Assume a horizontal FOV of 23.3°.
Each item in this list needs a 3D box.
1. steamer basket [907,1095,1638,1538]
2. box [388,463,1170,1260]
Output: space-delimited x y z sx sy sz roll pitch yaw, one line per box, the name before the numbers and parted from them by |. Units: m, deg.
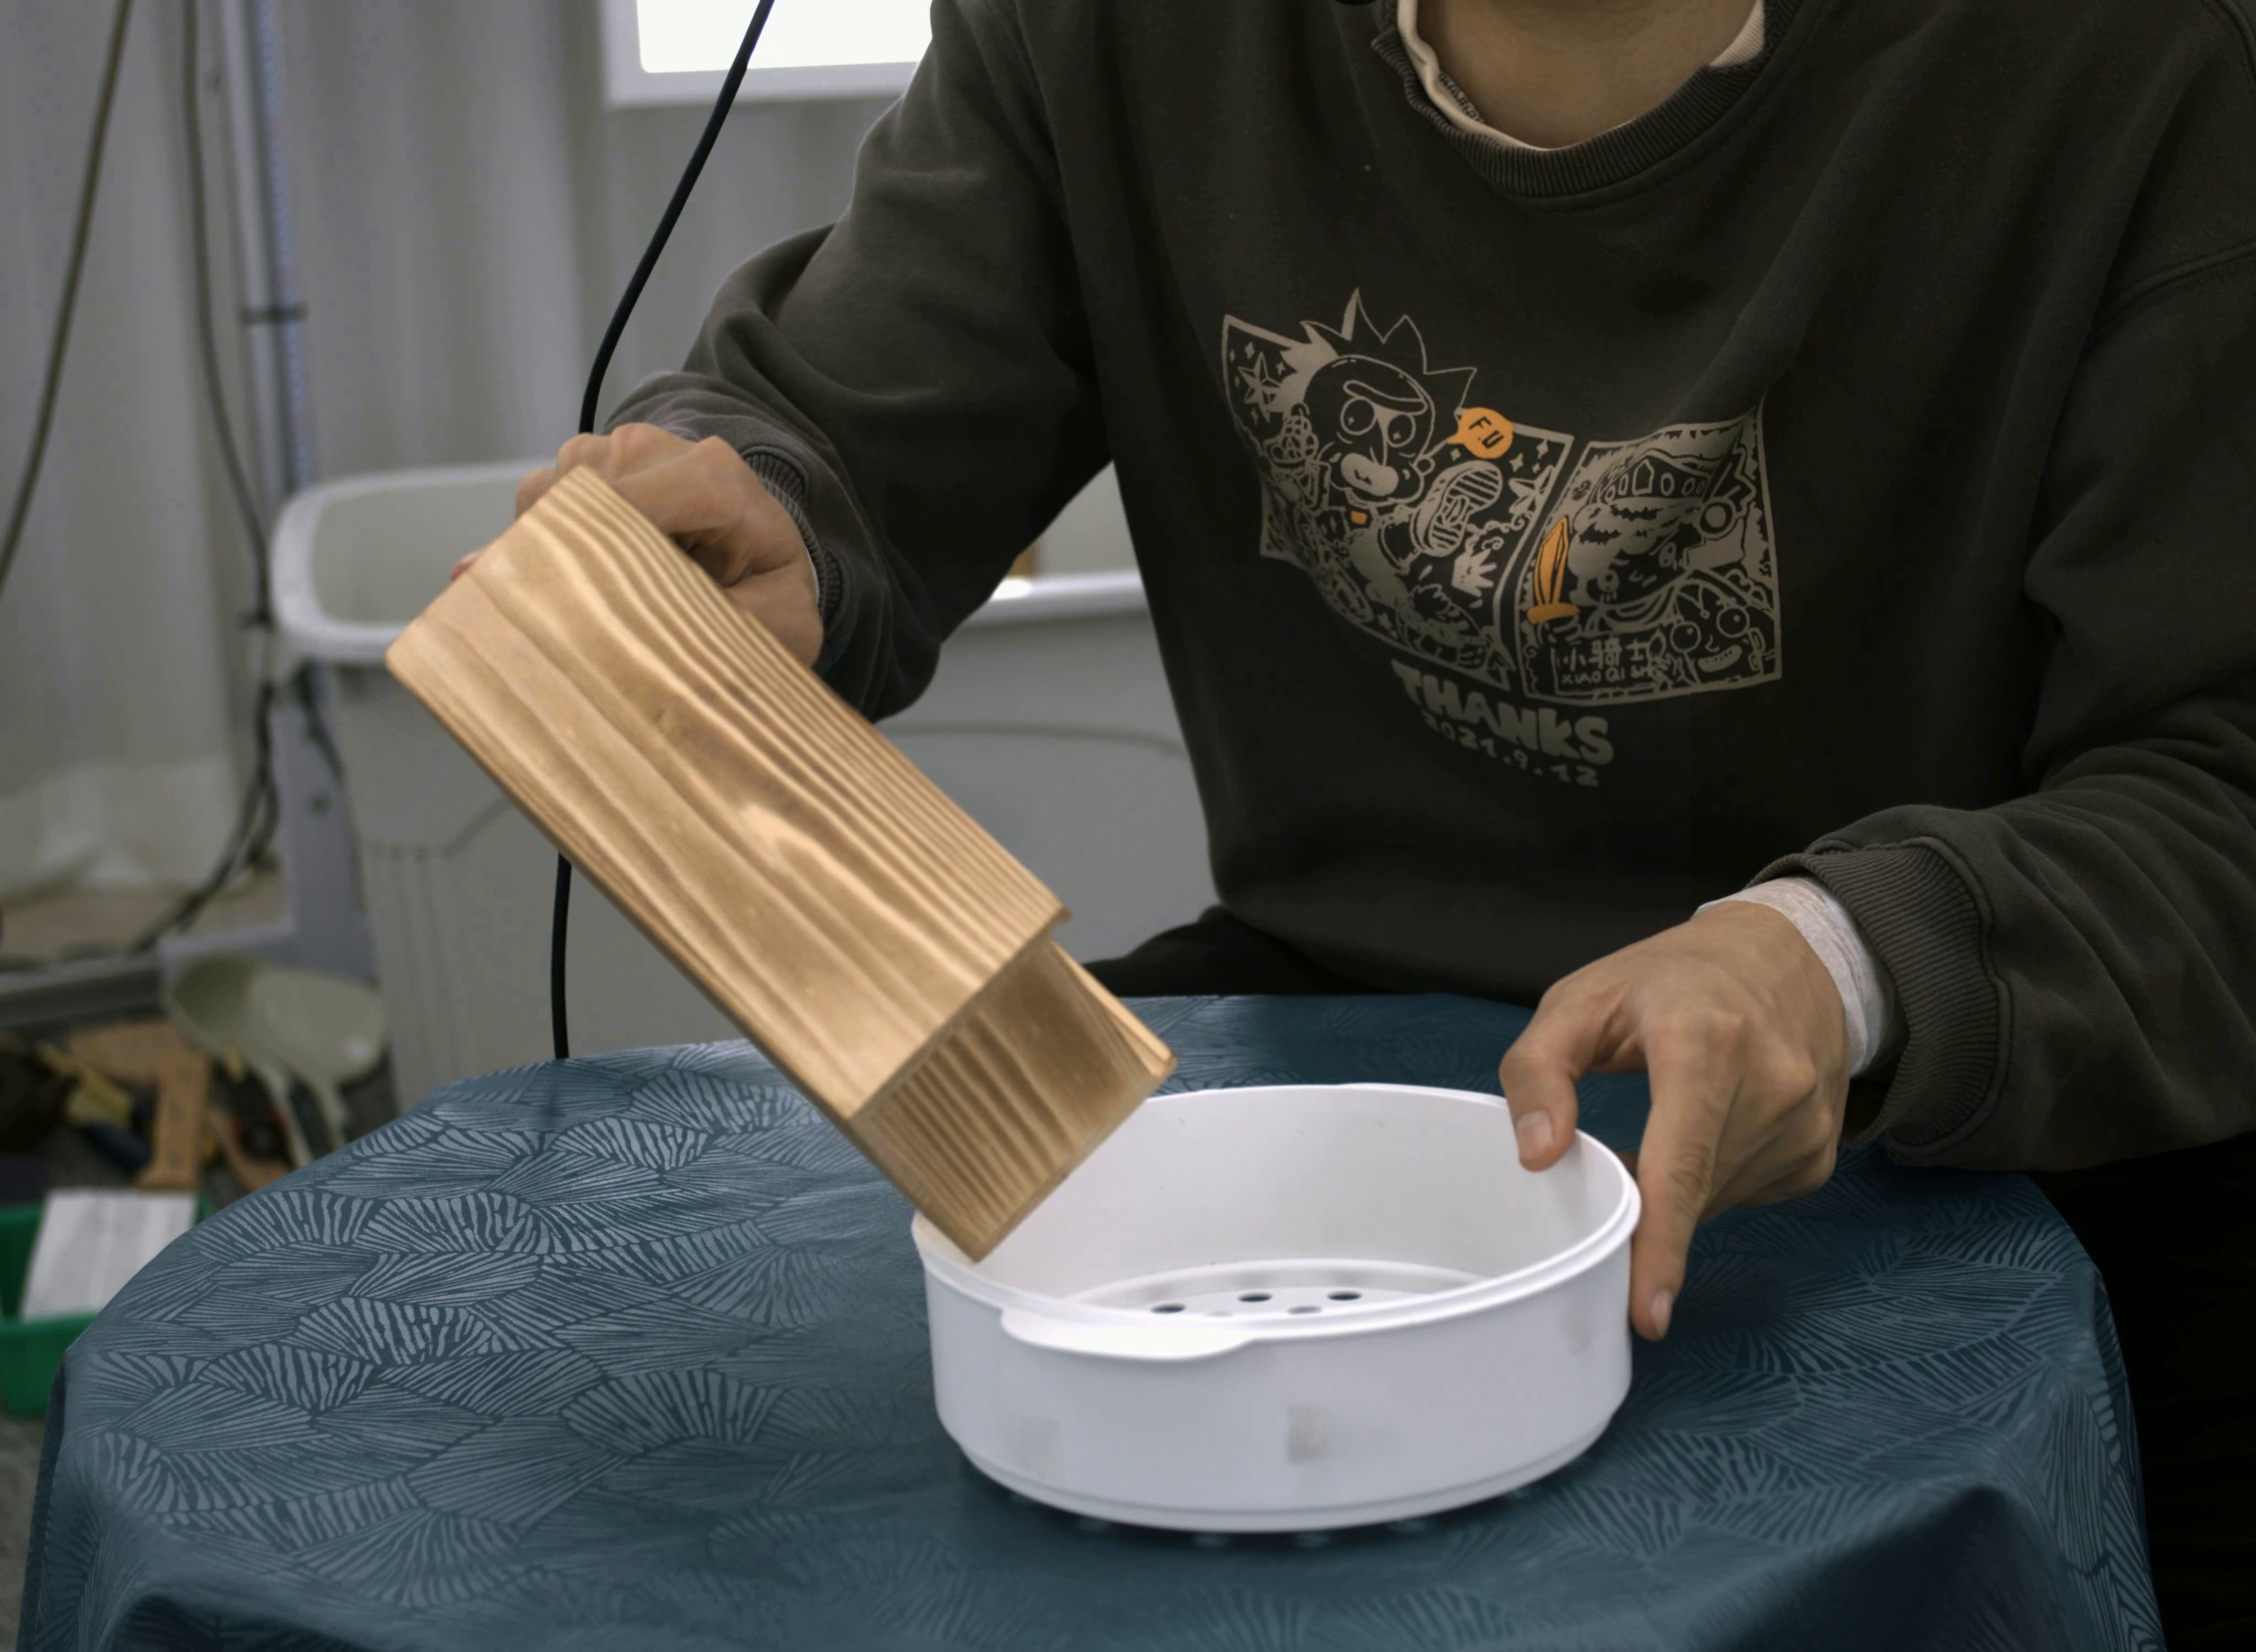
steamer basket | 0.040 0.135 1.510 0.202 0.069 0.231 5 16 26
box | -0.096 0.009 1.500 0.080 0.106 0.214 -44 59 -6
